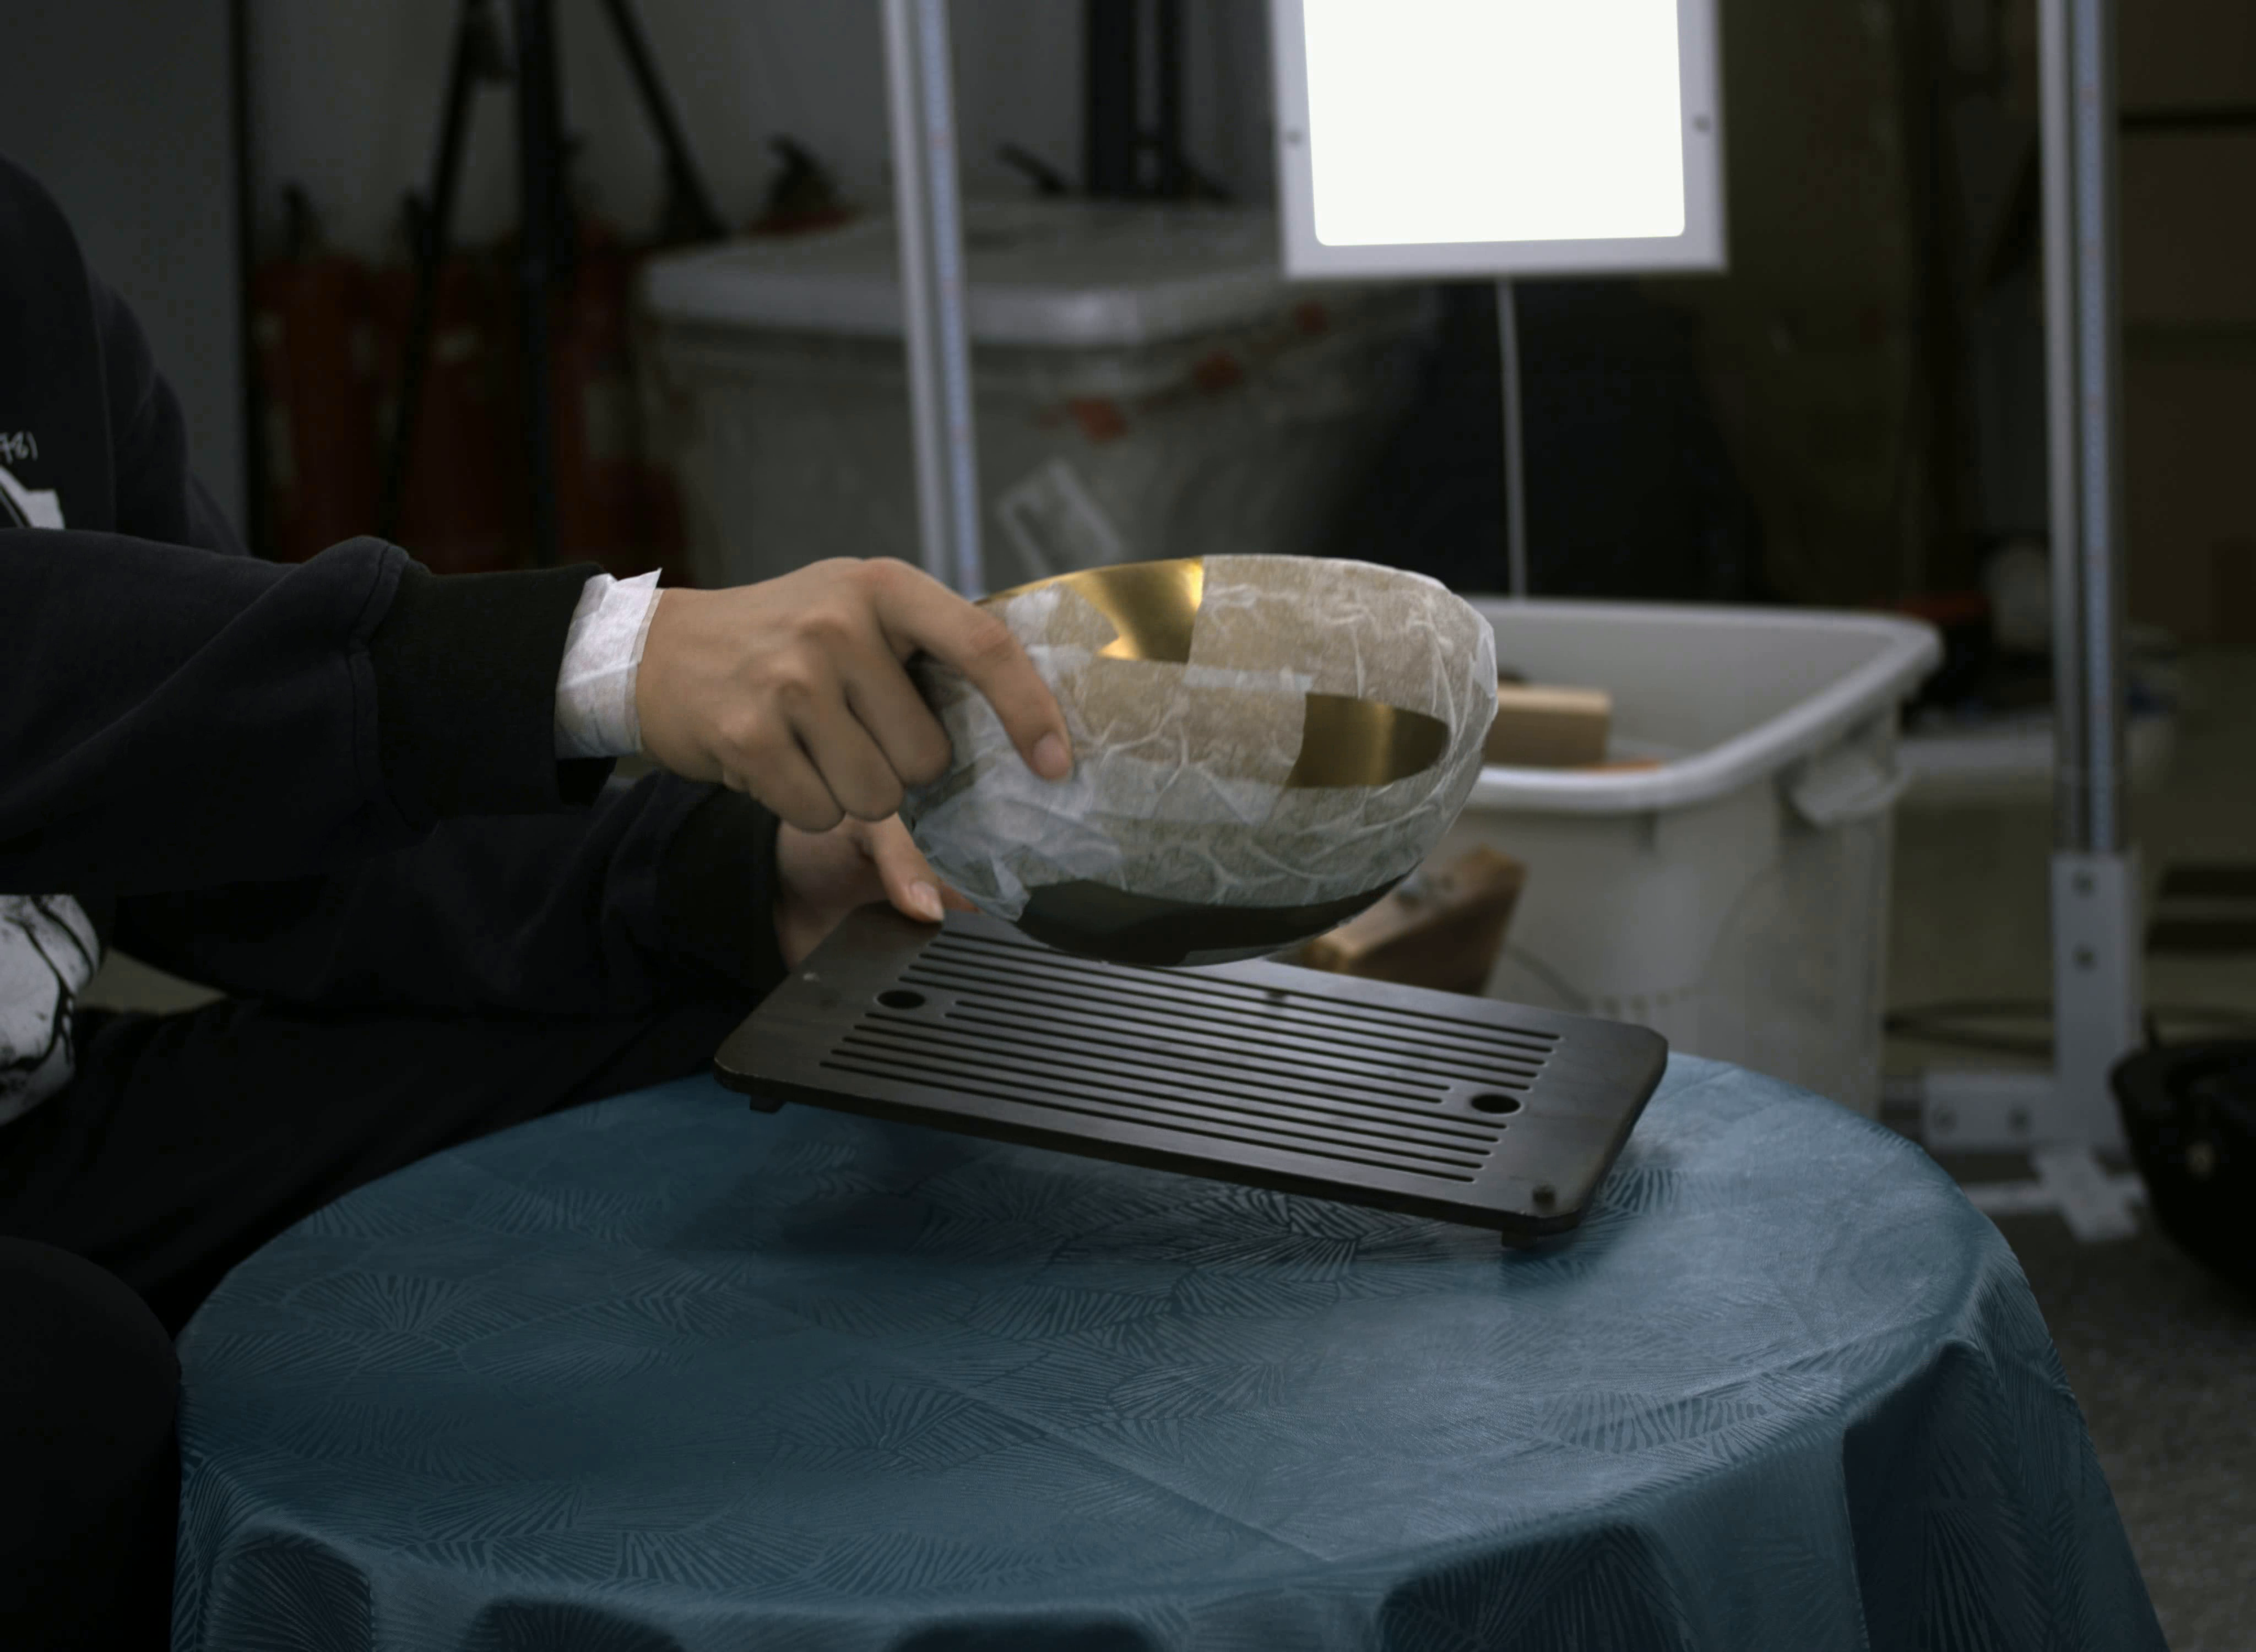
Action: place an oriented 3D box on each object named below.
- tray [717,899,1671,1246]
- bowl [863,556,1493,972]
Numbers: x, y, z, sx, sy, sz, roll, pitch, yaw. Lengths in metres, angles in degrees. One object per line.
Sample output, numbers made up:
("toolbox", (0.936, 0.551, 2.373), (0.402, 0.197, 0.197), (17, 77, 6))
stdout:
("tray", (0.025, 0.084, 1.907), (0.309, 0.019, 0.167), (9, 22, 17))
("bowl", (0.018, -0.007, 1.740), (0.214, 0.095, 0.215), (-4, -17, -3))
